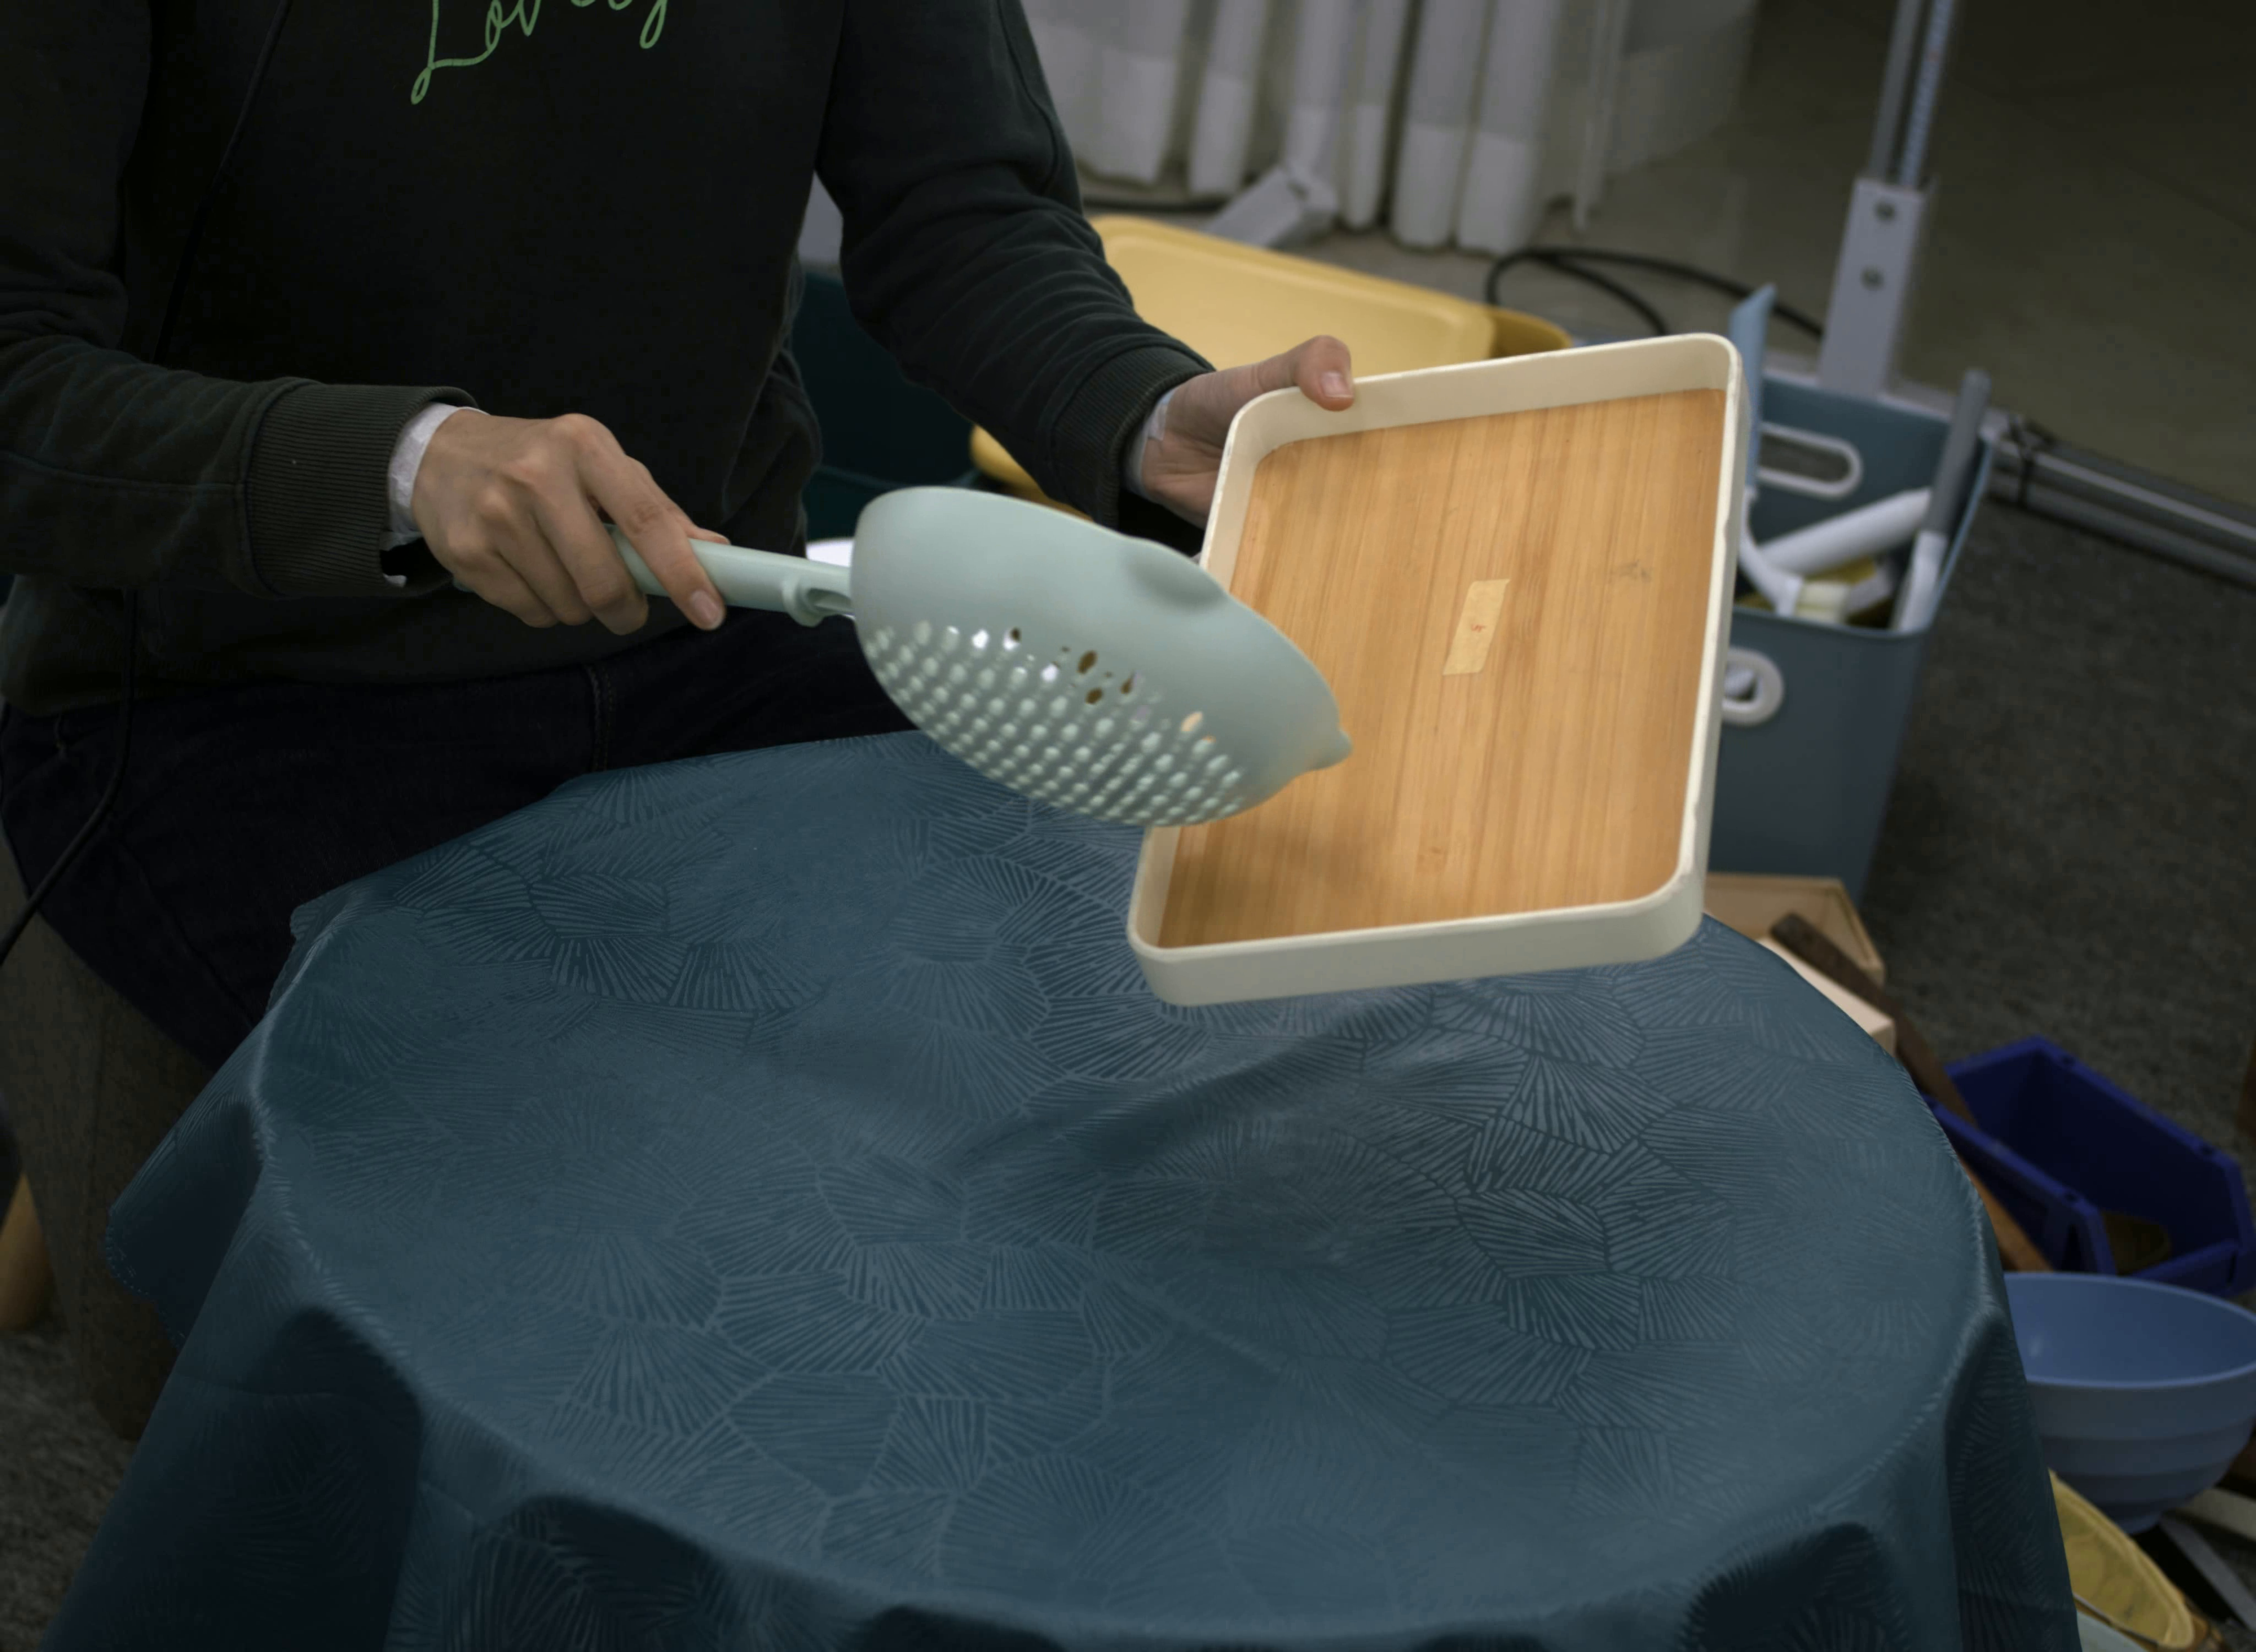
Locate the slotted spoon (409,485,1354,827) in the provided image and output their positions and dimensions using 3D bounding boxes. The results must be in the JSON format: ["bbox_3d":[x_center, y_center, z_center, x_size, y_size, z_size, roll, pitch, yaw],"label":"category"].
[{"bbox_3d":[-0.096,-0.068,1.775,0.361,0.168,0.075,18,70,36],"label":"slotted spoon"}]

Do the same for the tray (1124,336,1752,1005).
[{"bbox_3d":[0.111,-0.057,1.818,0.192,0.027,0.302,-6,40,17],"label":"tray"}]
